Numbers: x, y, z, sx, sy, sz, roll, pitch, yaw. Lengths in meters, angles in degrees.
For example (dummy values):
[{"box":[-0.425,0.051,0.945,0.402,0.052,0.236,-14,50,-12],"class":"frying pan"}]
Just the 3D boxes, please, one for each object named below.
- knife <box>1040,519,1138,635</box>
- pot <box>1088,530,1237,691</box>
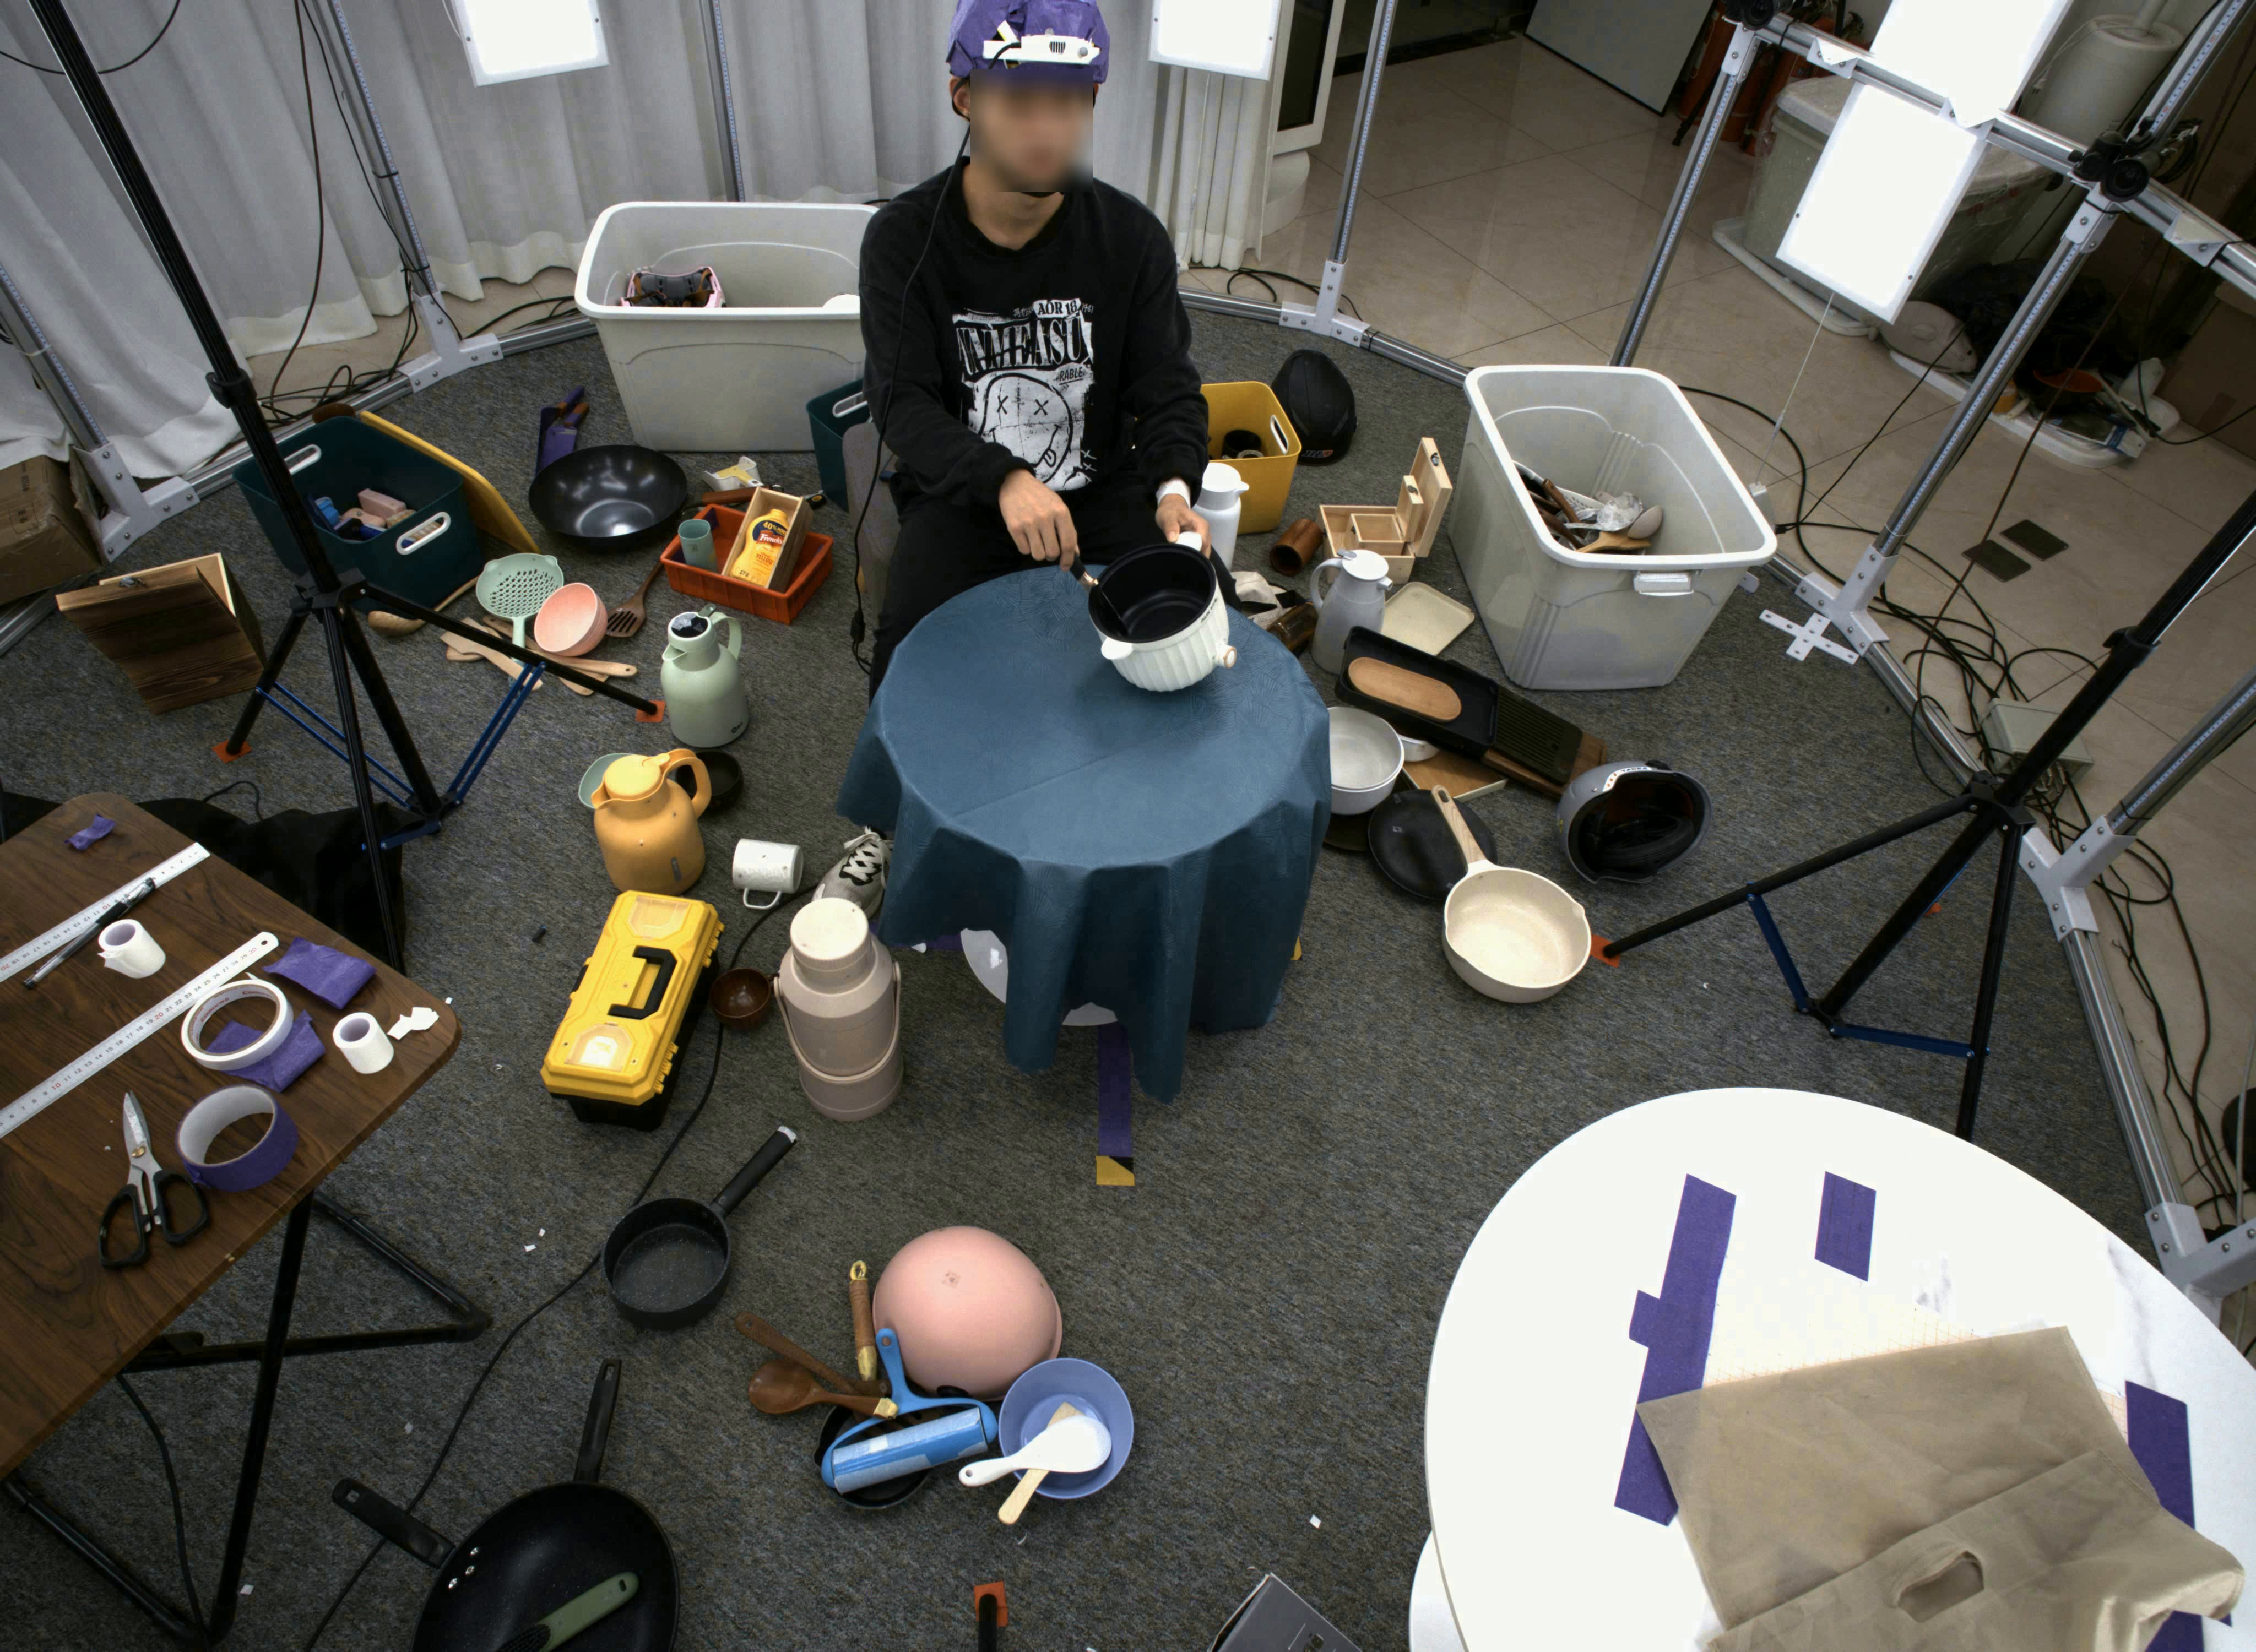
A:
[{"box":[-0.049,-0.331,1.768,0.026,0.221,0.017,-20,32,34],"class":"knife"},{"box":[0.055,-0.286,1.807,0.192,0.139,0.243,17,64,33],"class":"pot"}]
